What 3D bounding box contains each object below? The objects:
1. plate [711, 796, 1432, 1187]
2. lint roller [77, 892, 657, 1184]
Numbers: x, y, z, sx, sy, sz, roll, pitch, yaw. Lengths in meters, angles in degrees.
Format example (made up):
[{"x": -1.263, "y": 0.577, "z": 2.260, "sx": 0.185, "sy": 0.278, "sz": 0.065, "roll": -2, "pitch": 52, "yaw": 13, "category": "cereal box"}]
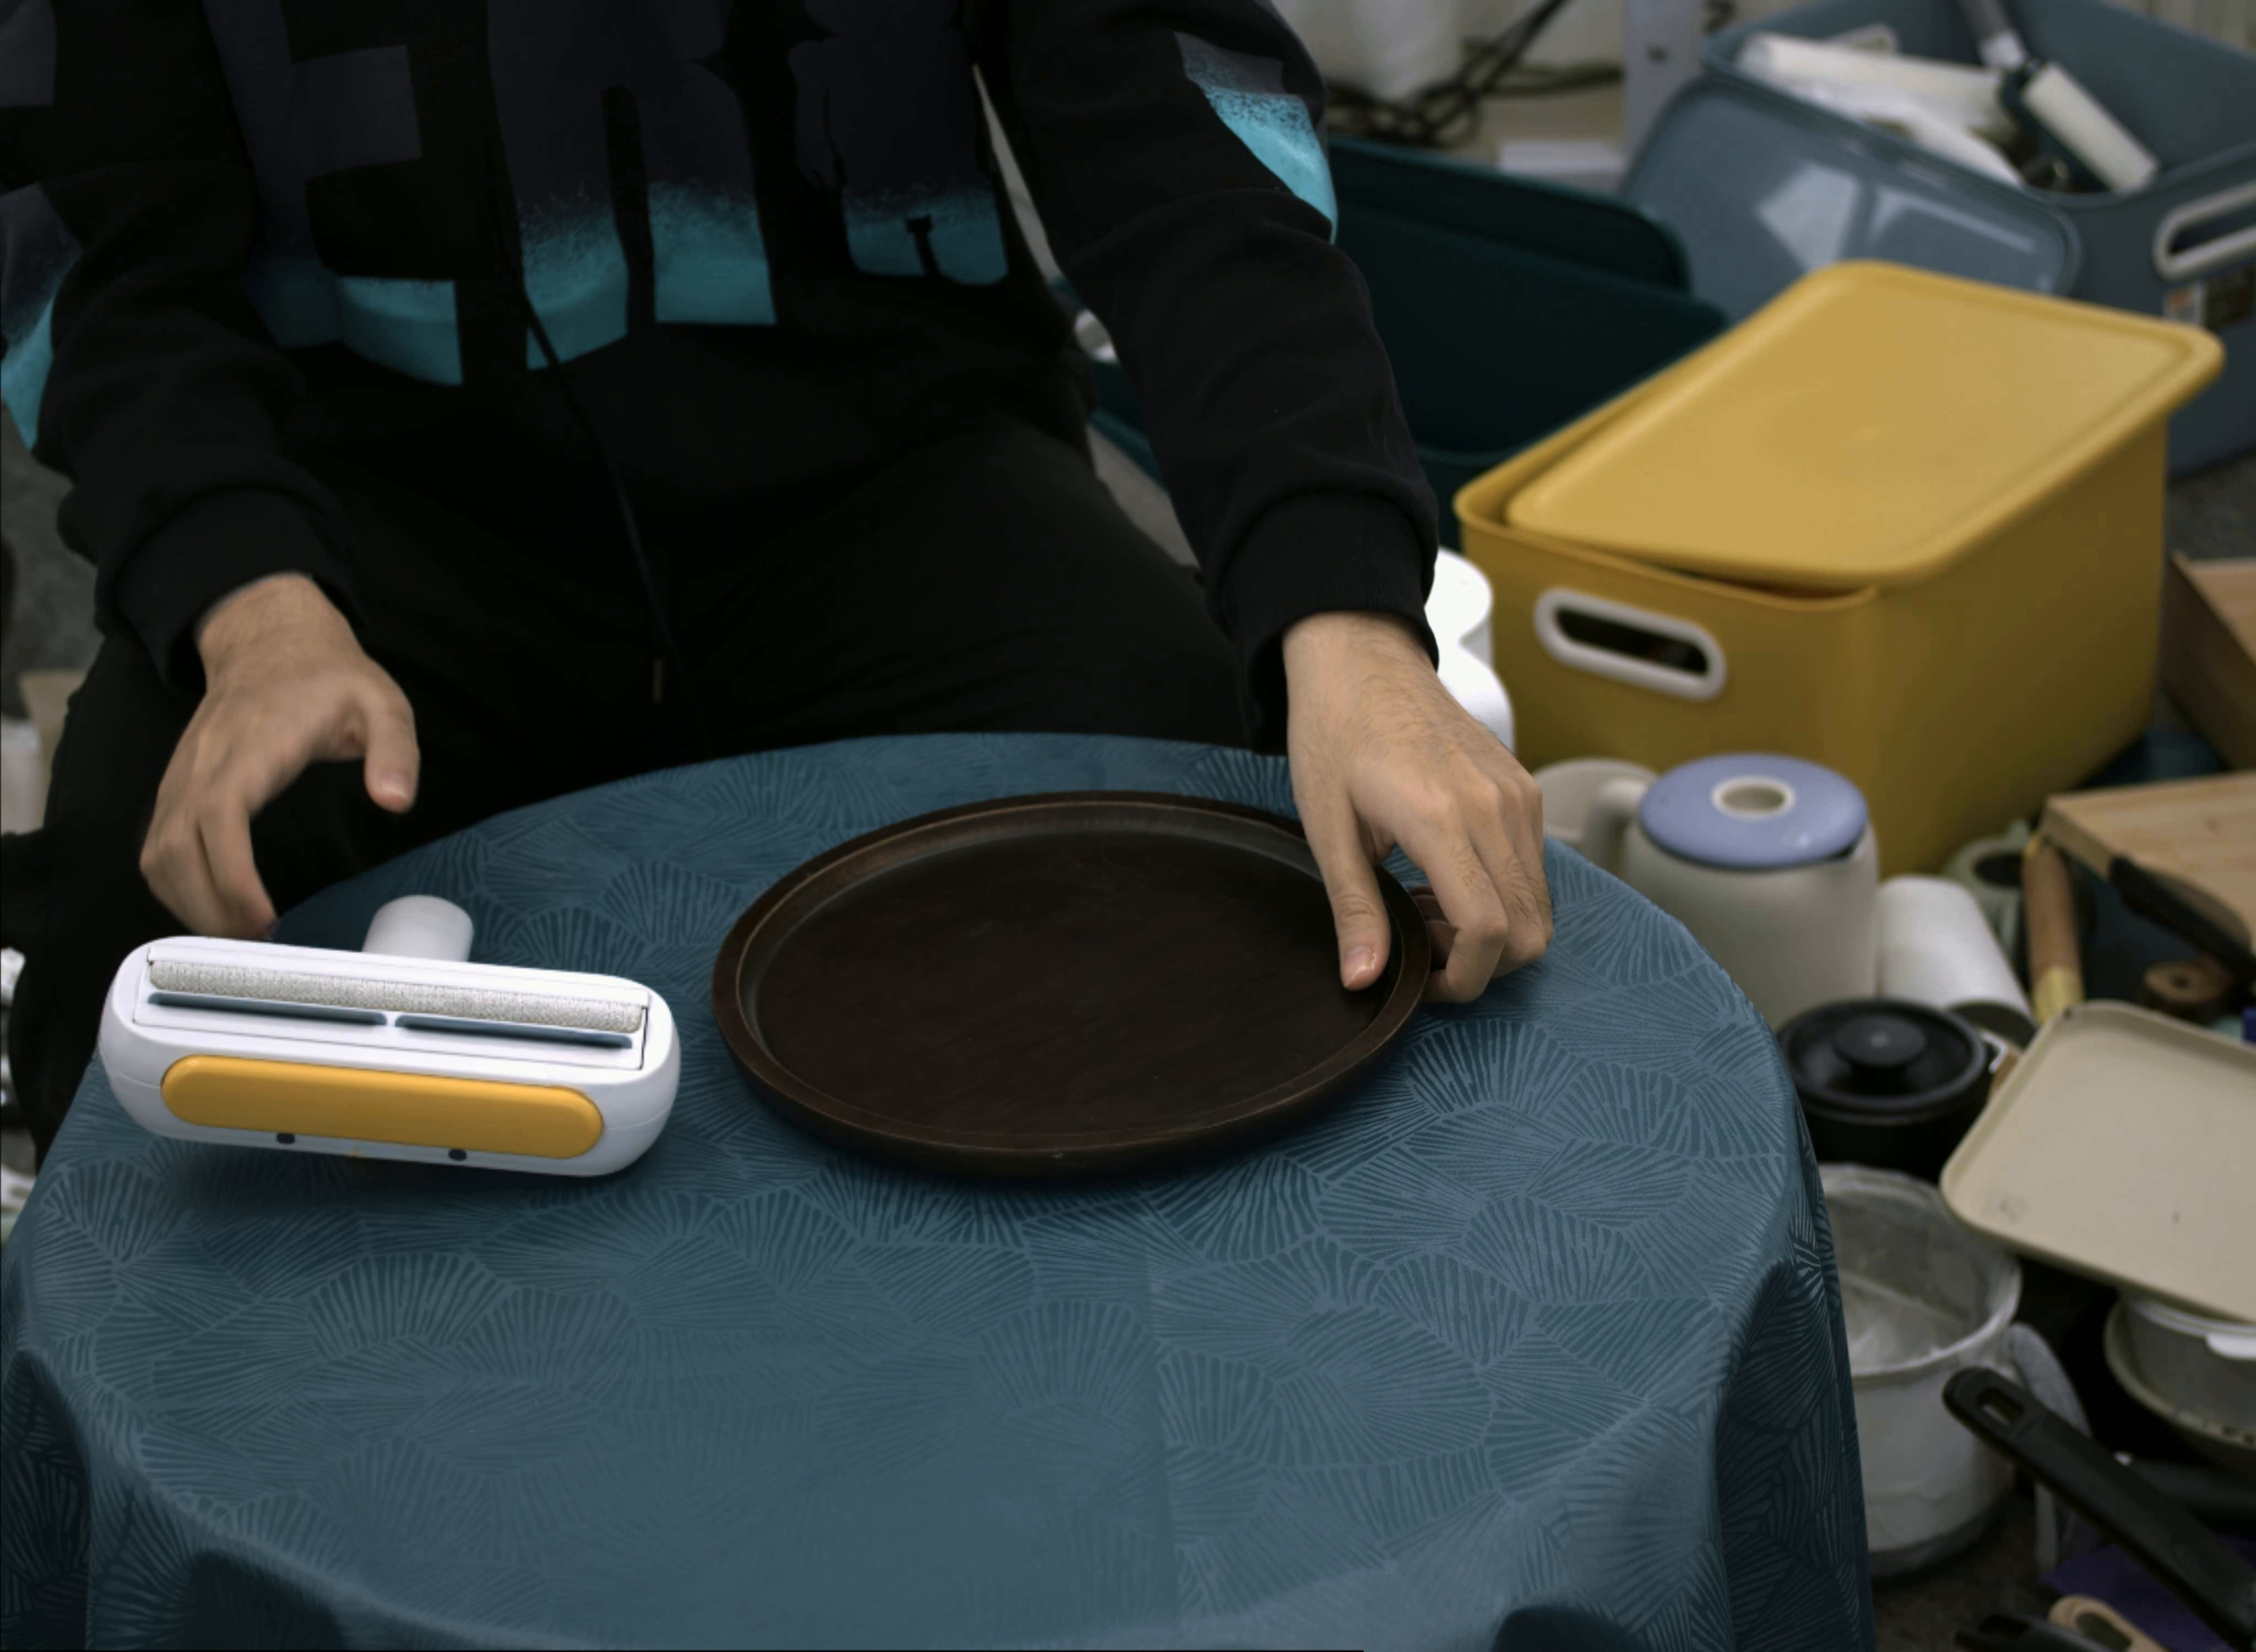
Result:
[{"x": -0.019, "y": 0.057, "z": 1.964, "sx": 0.253, "sy": 0.029, "sz": 0.258, "roll": -2, "pitch": 26, "yaw": 2, "category": "plate"}, {"x": -0.252, "y": 0.058, "z": 1.935, "sx": 0.192, "sy": 0.073, "sz": 0.195, "roll": 3, "pitch": 26, "yaw": 1, "category": "lint roller"}]
